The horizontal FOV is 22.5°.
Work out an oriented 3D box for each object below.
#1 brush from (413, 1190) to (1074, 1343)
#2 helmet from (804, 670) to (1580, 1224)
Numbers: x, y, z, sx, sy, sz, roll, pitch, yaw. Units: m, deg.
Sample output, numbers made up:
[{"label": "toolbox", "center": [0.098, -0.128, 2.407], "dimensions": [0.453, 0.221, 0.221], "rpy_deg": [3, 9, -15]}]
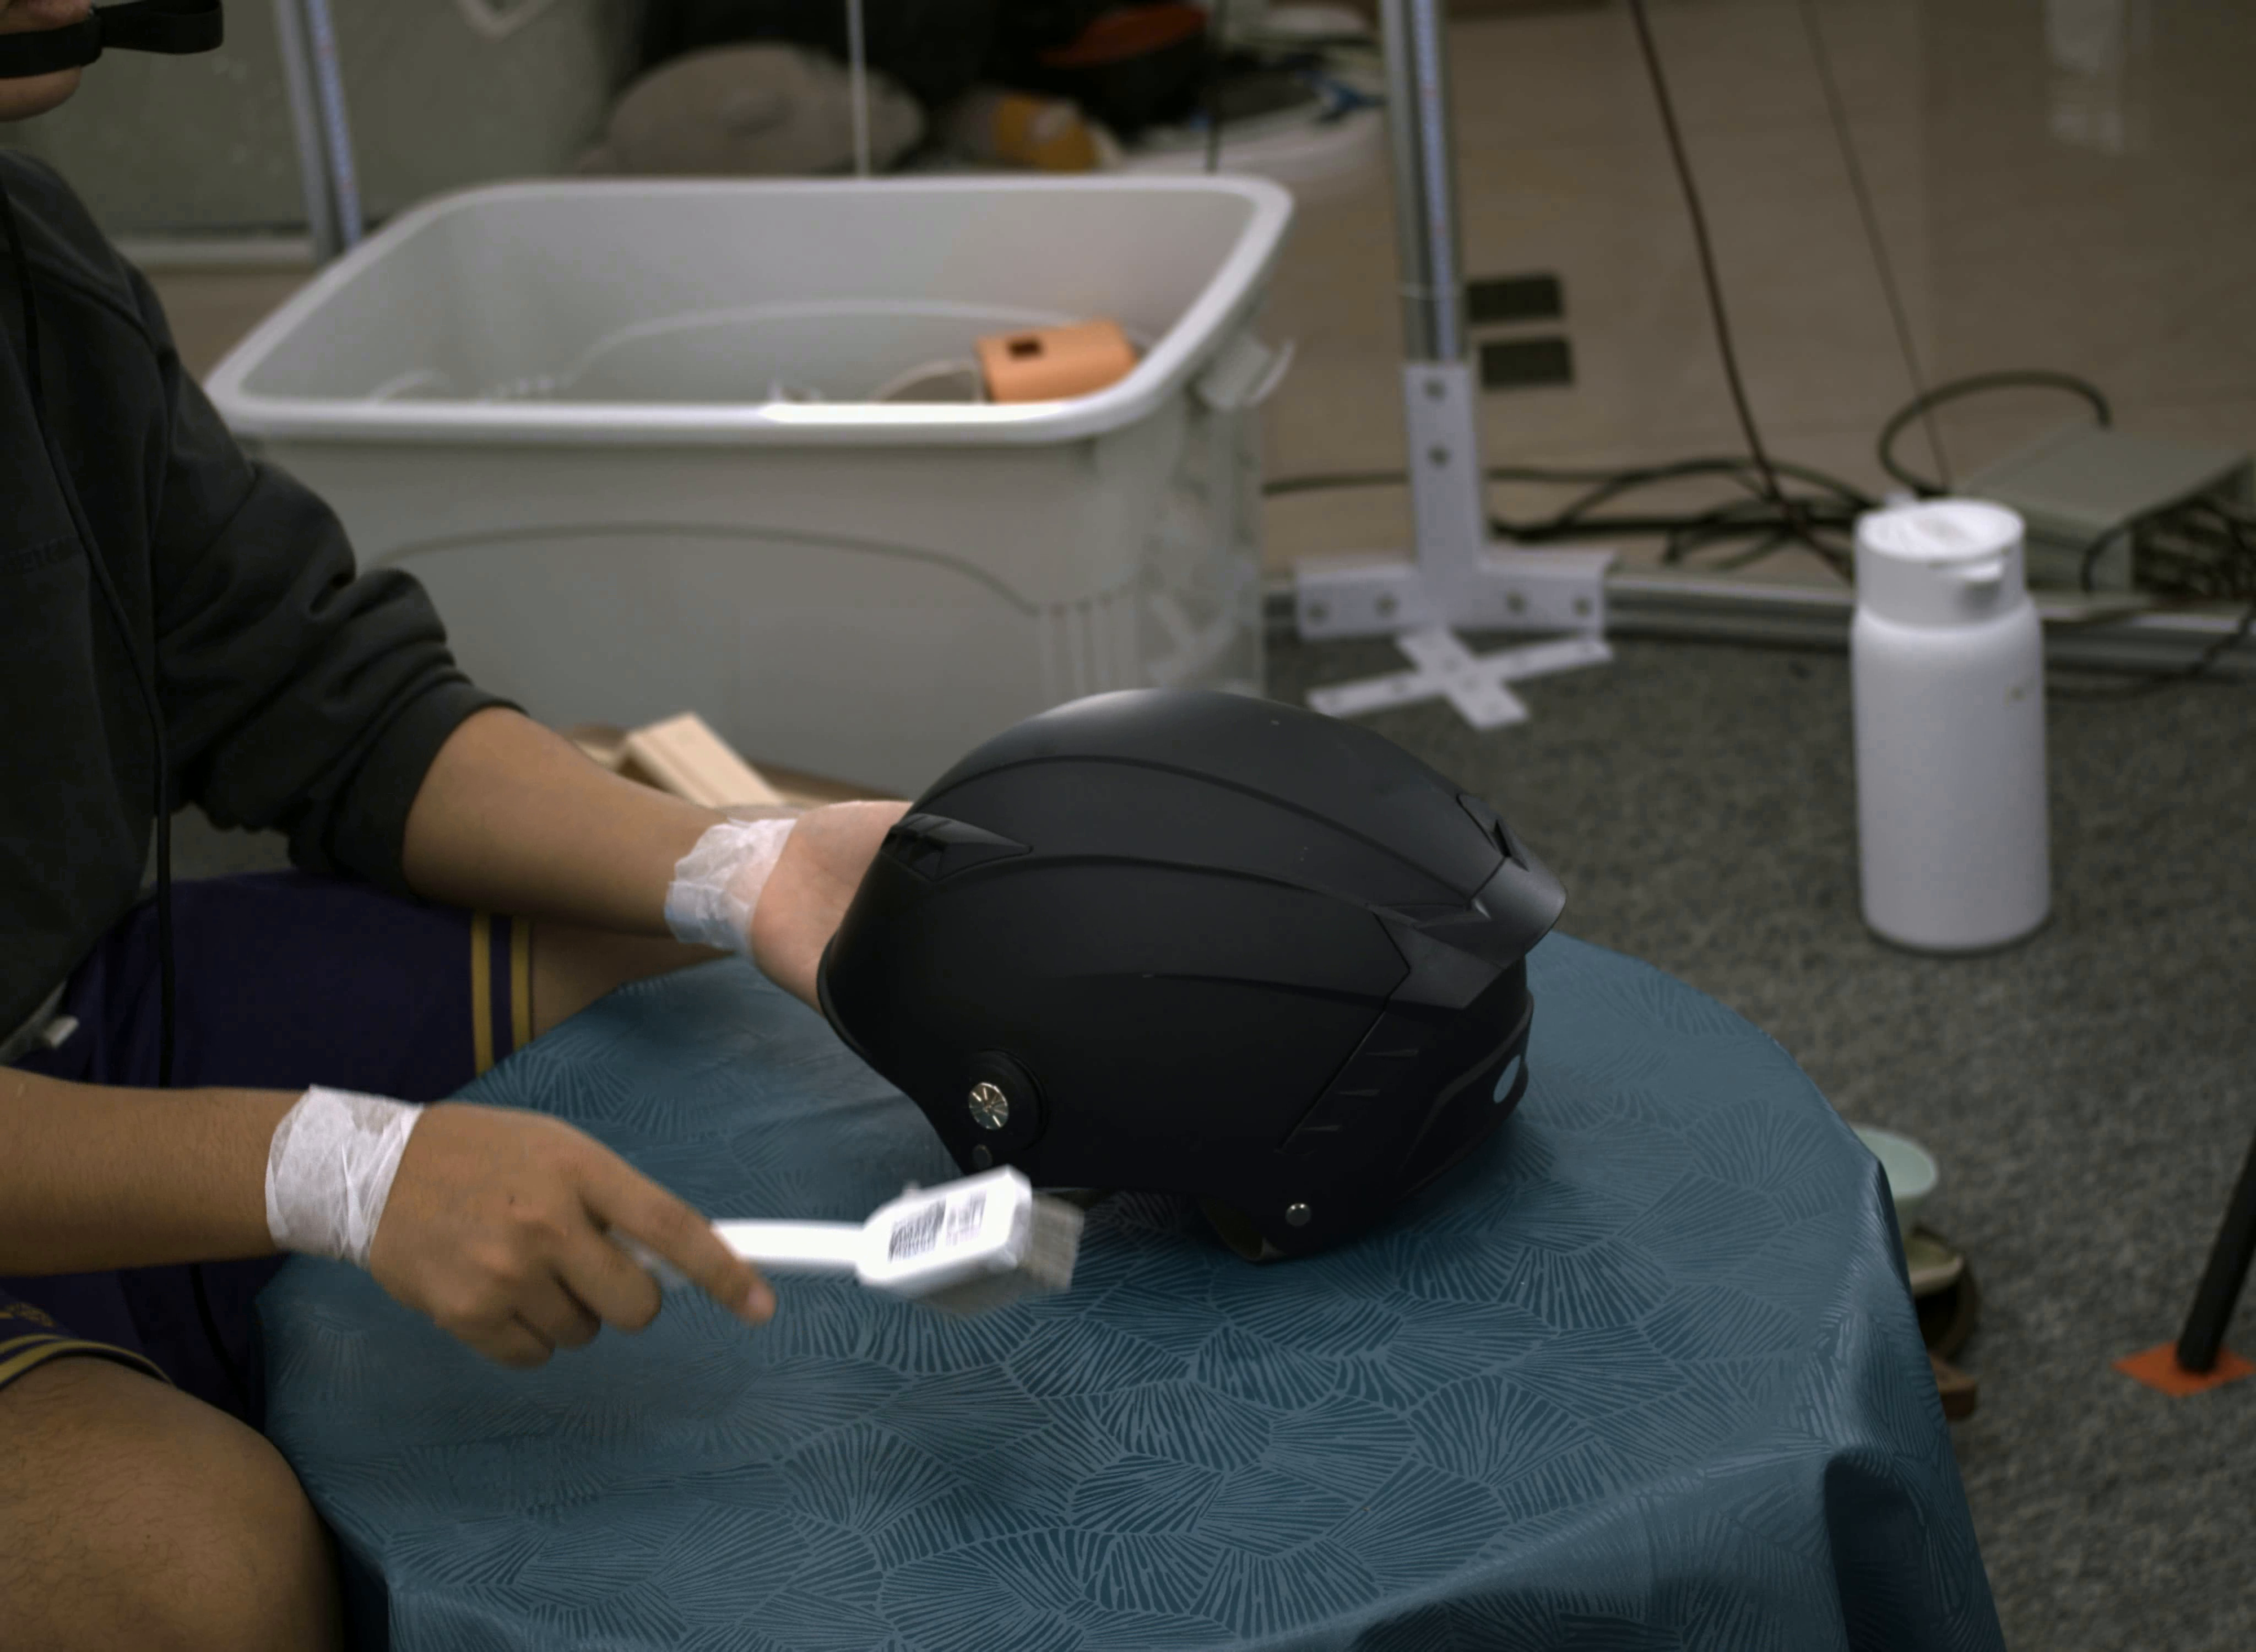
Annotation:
[{"label": "brush", "center": [-0.135, 0.163, 1.994], "dimensions": [0.243, 0.051, 0.034], "rpy_deg": [-7, 51, 20]}, {"label": "helmet", "center": [0.027, 0.032, 2.141], "dimensions": [0.275, 0.175, 0.243], "rpy_deg": [22, 33, 16]}]
